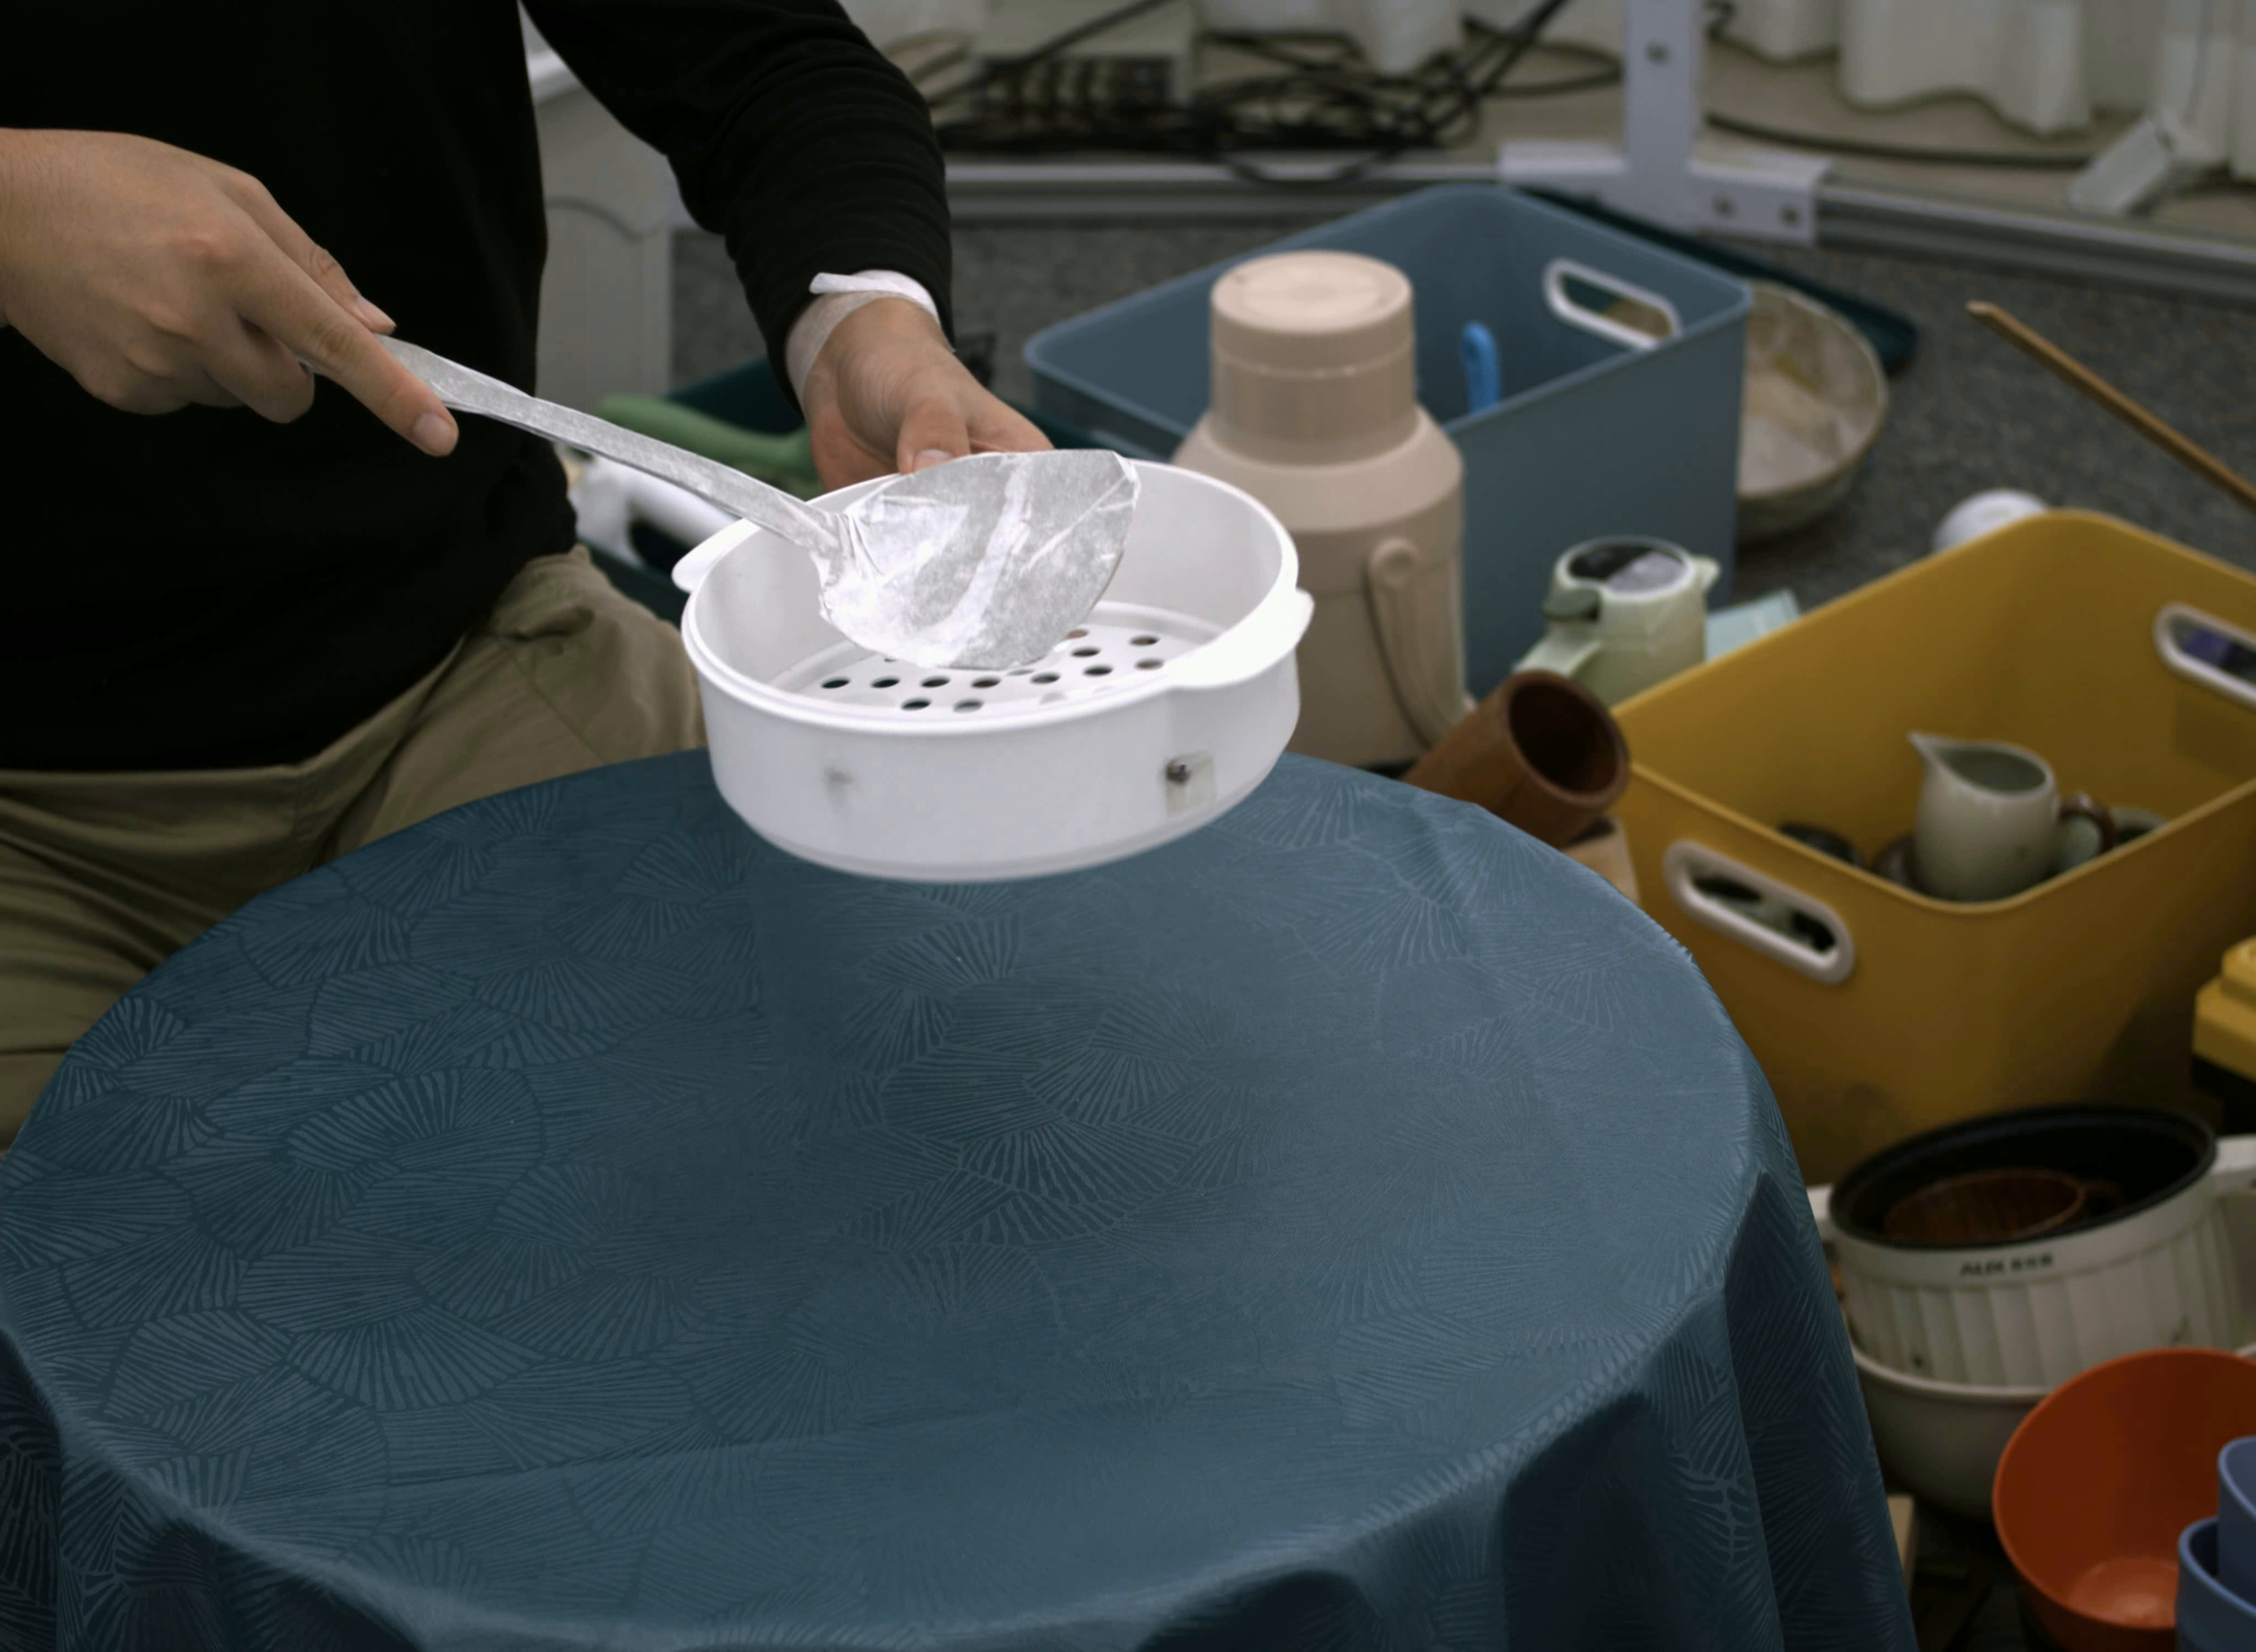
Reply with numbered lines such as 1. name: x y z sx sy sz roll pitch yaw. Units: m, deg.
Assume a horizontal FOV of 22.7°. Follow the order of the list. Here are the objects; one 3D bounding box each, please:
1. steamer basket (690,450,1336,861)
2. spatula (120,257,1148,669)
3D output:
1. steamer basket: -0.036 -0.055 1.821 0.229 0.068 0.205 10 29 33
2. spatula: -0.170 -0.131 1.827 0.363 0.044 0.100 20 56 9
